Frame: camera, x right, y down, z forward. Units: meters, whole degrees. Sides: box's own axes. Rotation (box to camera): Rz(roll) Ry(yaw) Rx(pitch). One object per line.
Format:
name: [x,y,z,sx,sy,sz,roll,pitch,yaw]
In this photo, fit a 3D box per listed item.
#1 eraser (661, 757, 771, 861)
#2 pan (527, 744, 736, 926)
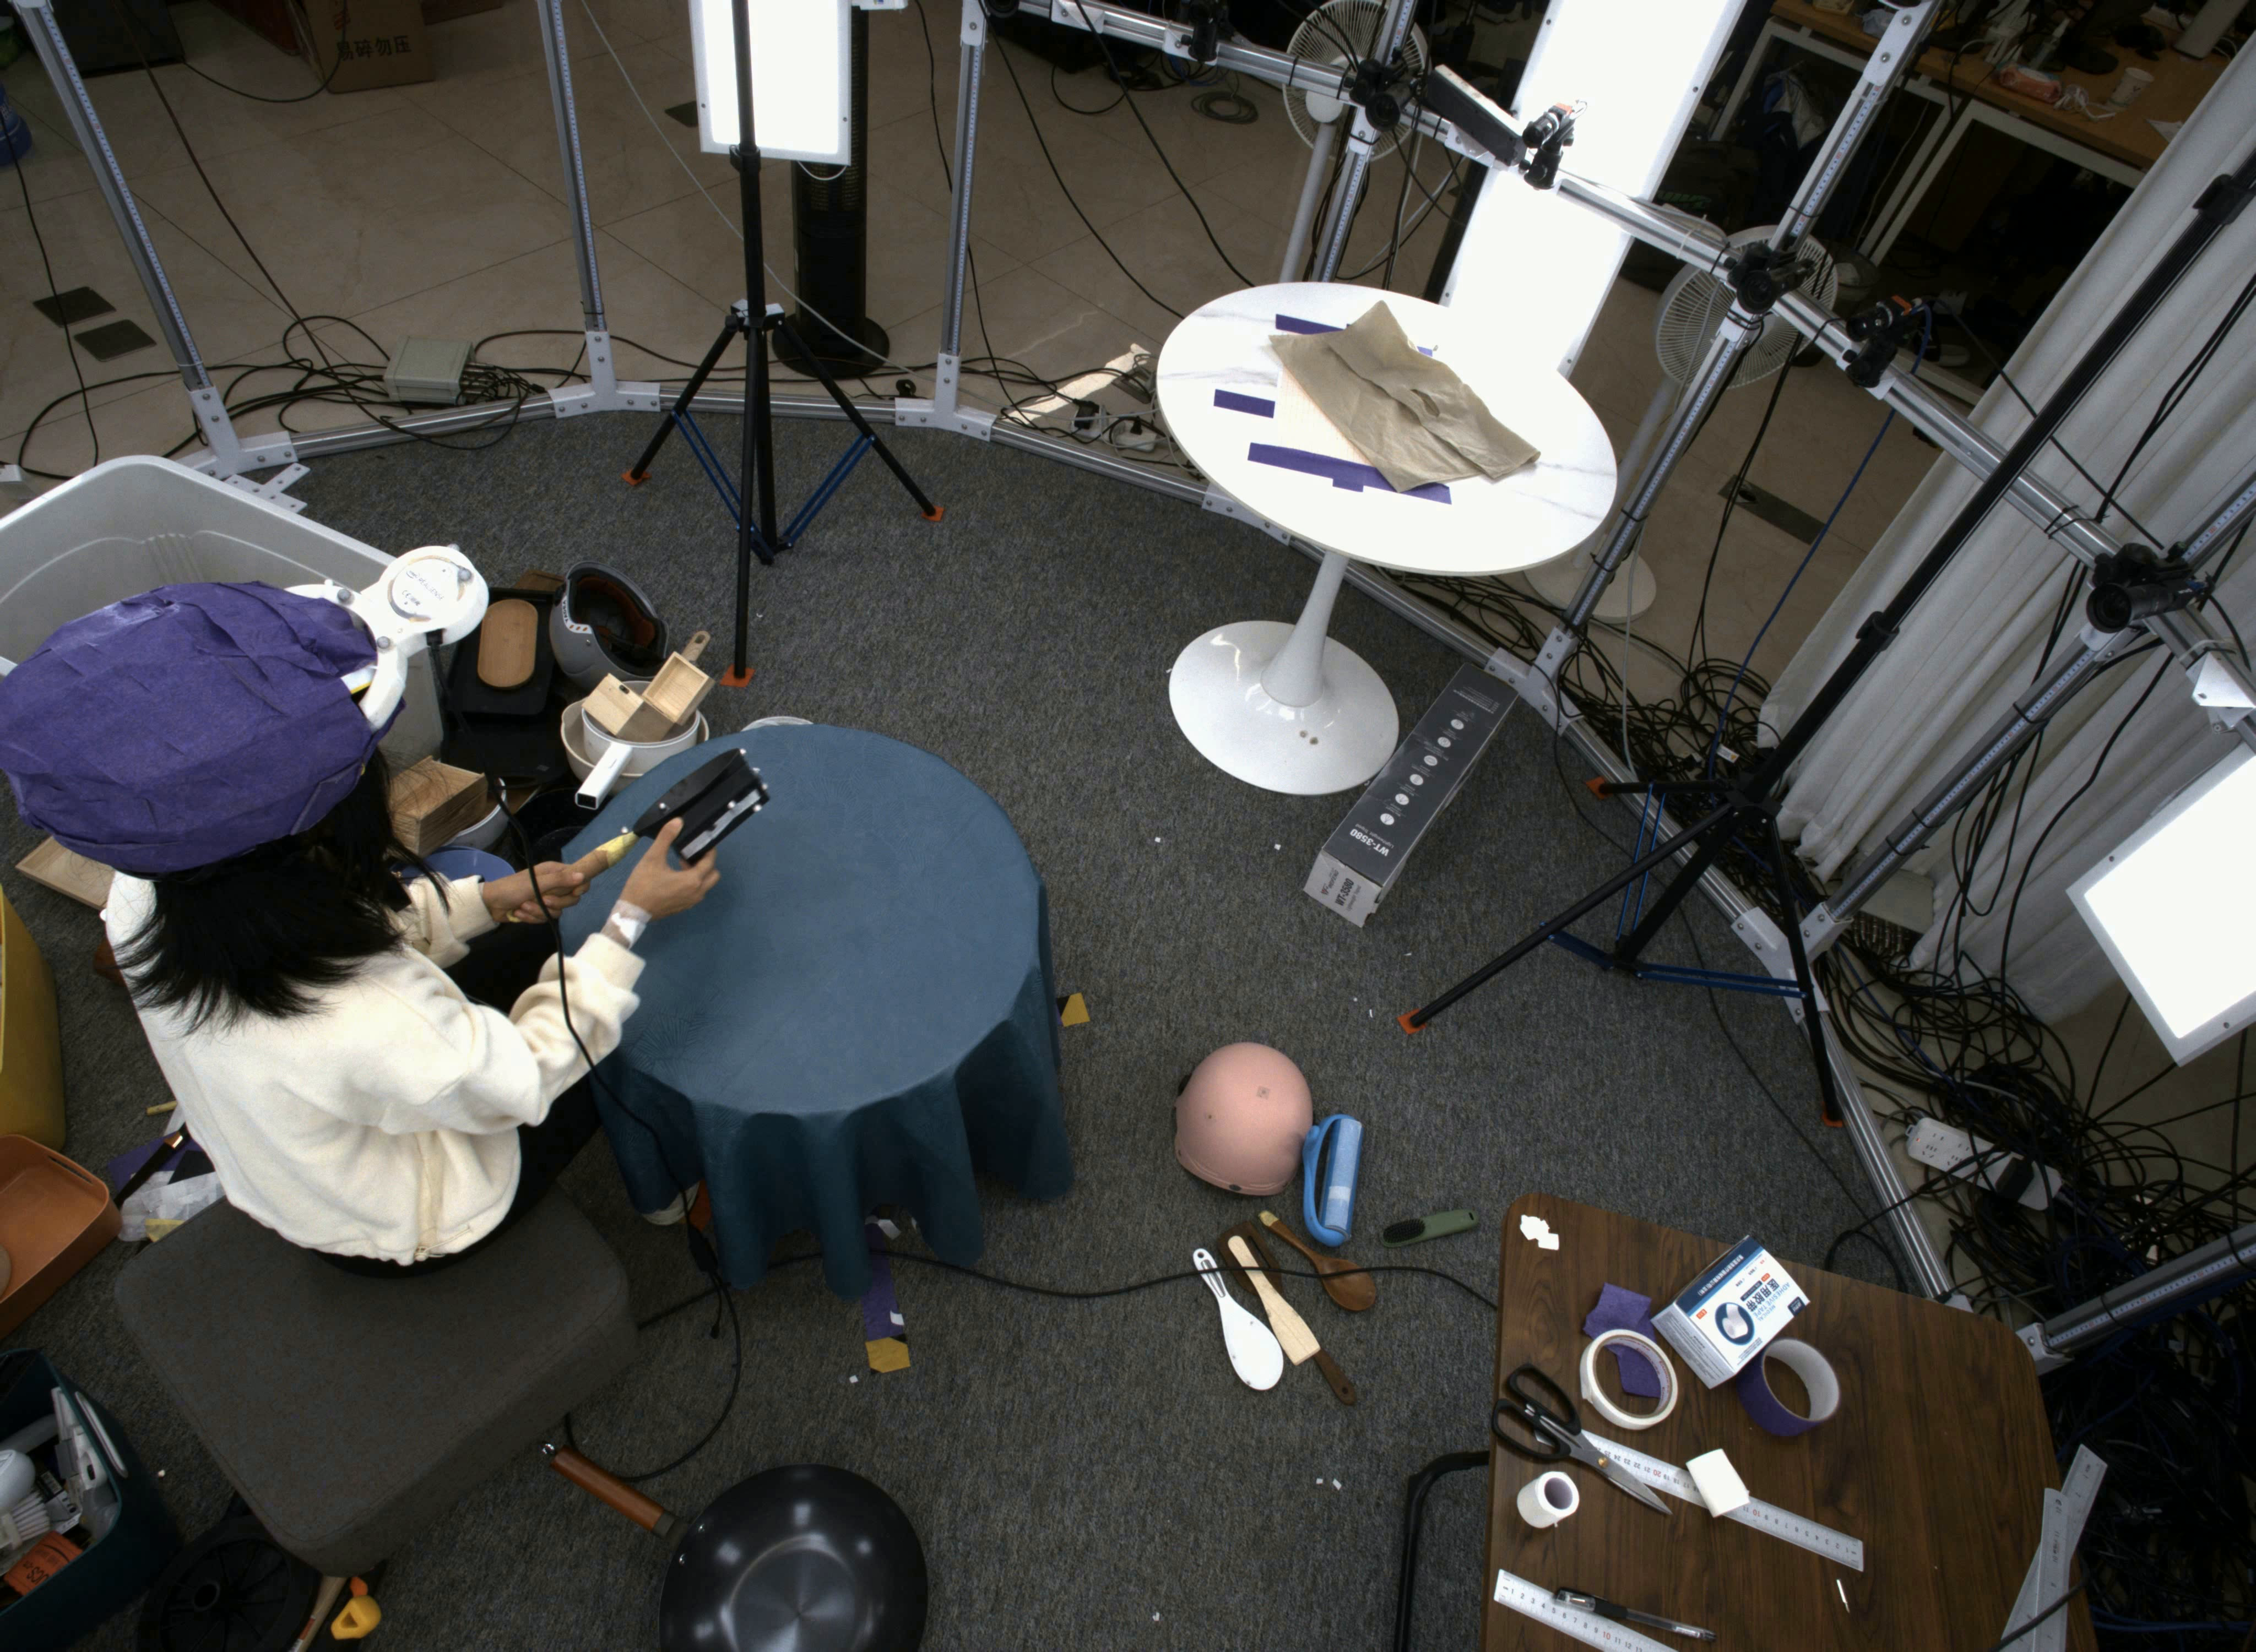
eraser: [-0.471,-0.022,1.474,0.029,0.055,0.125,35,68,30]
pan: [-0.586,0.013,1.502,0.324,0.164,0.051,-41,112,-16]
